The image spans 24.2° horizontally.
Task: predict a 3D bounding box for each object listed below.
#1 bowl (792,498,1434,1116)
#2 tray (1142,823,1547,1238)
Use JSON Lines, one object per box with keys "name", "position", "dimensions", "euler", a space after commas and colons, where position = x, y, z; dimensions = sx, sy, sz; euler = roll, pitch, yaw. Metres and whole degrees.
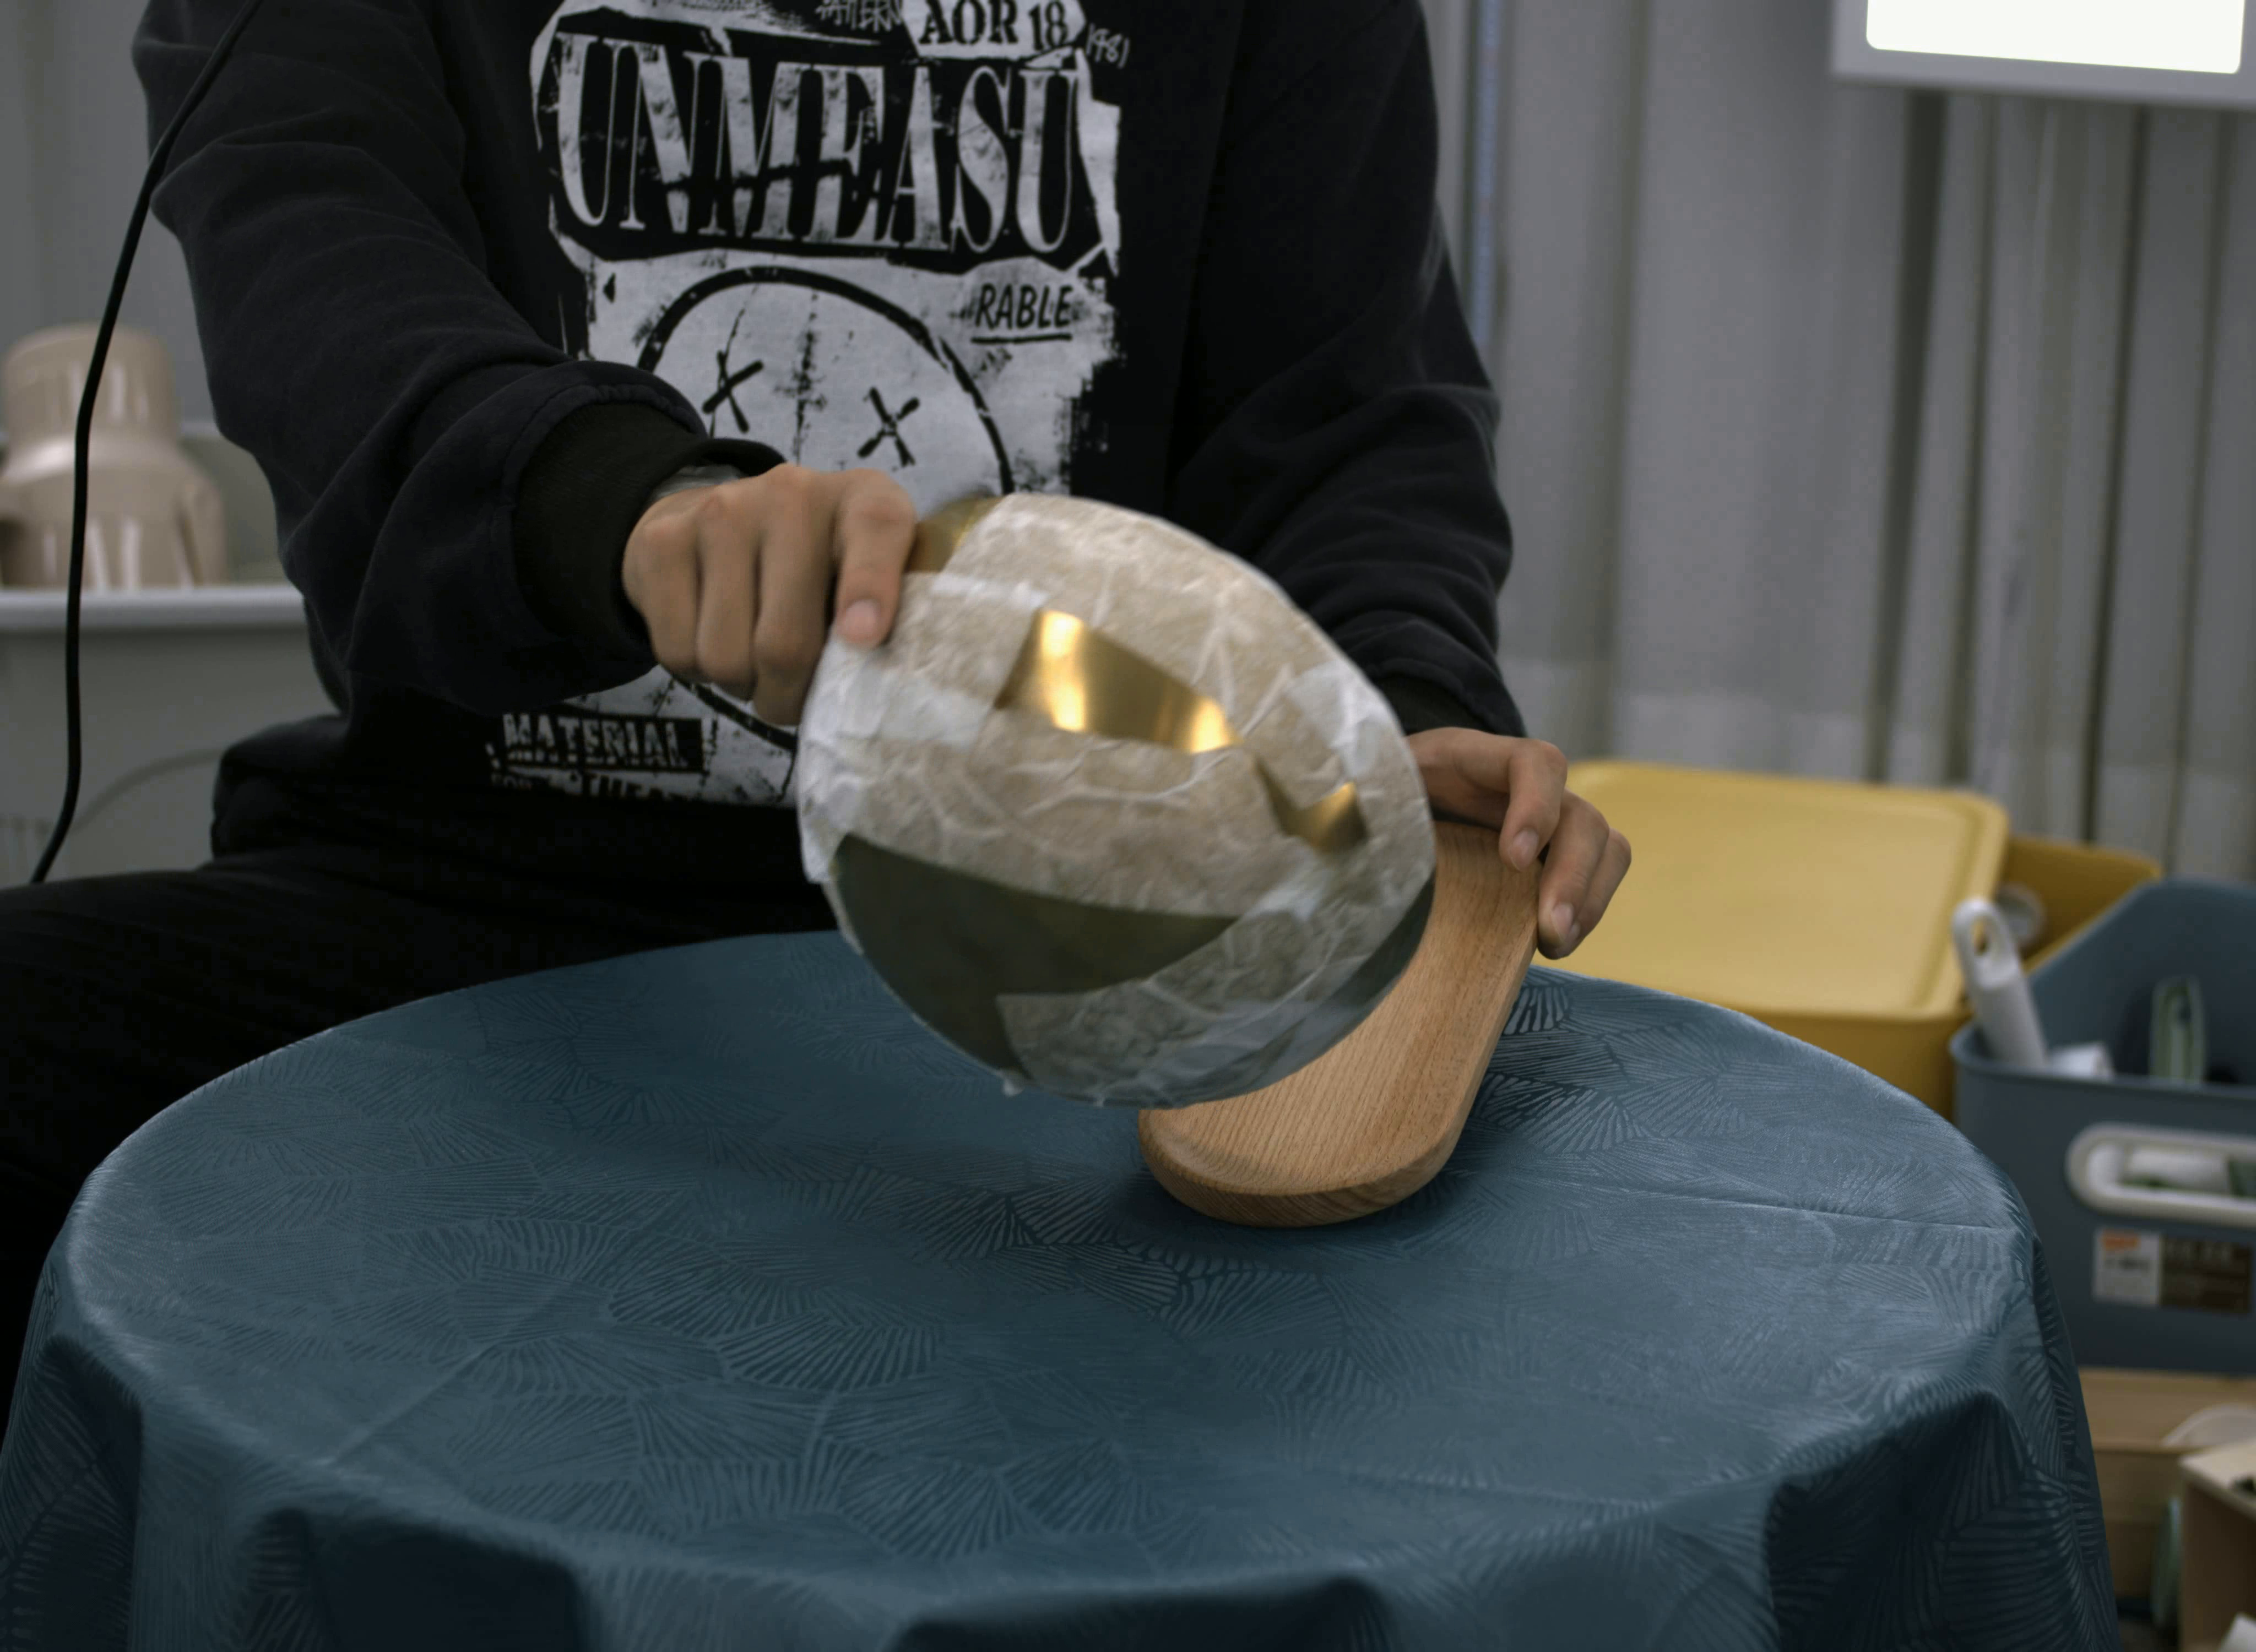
{"name": "bowl", "position": [-0.020, 0.015, 1.532], "dimensions": [0.212, 0.217, 0.094], "euler": [10, 44, 29]}
{"name": "tray", "position": [0.072, 0.063, 1.681], "dimensions": [0.101, 0.020, 0.230], "euler": [1, 32, 16]}
